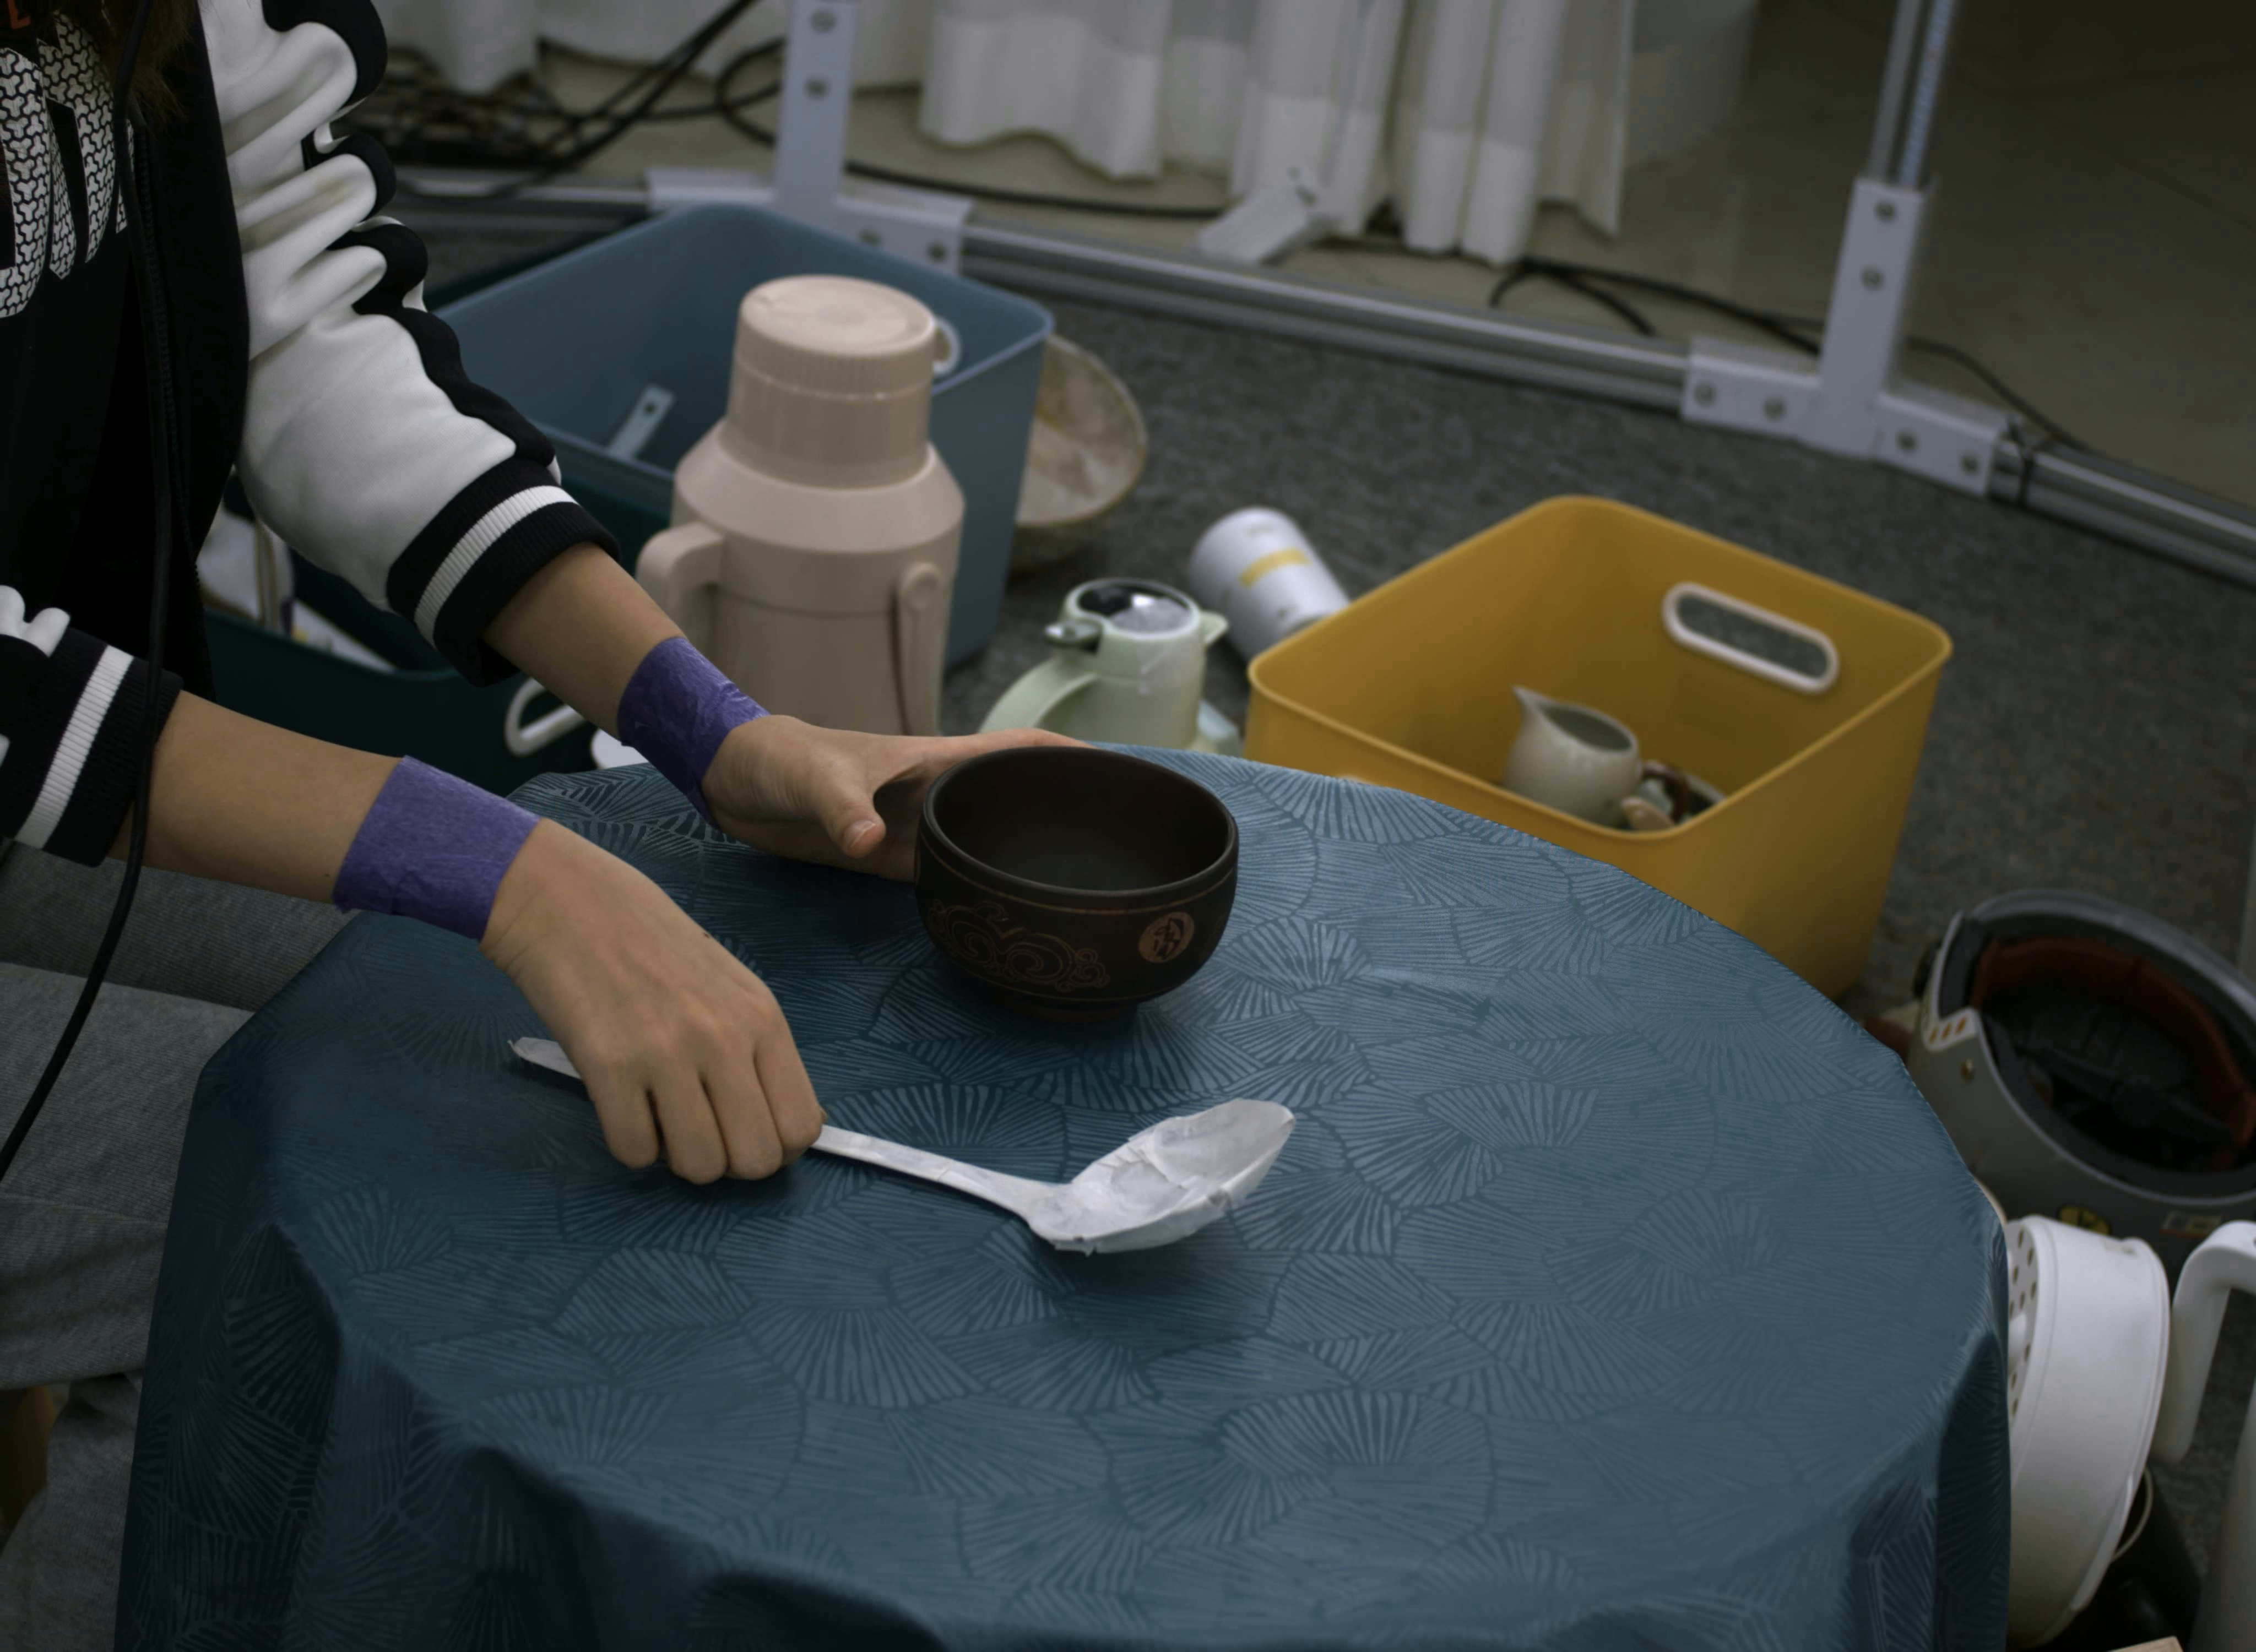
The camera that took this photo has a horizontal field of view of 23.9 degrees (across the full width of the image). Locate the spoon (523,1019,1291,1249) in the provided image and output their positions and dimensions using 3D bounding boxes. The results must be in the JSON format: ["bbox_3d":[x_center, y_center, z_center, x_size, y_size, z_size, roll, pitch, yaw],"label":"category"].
[{"bbox_3d":[-0.078,0.085,1.795,0.278,0.059,0.100,17,25,19],"label":"spoon"}]

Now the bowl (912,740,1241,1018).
[{"bbox_3d":[-0.021,0.025,1.909,0.117,0.069,0.119,5,26,-3],"label":"bowl"}]
